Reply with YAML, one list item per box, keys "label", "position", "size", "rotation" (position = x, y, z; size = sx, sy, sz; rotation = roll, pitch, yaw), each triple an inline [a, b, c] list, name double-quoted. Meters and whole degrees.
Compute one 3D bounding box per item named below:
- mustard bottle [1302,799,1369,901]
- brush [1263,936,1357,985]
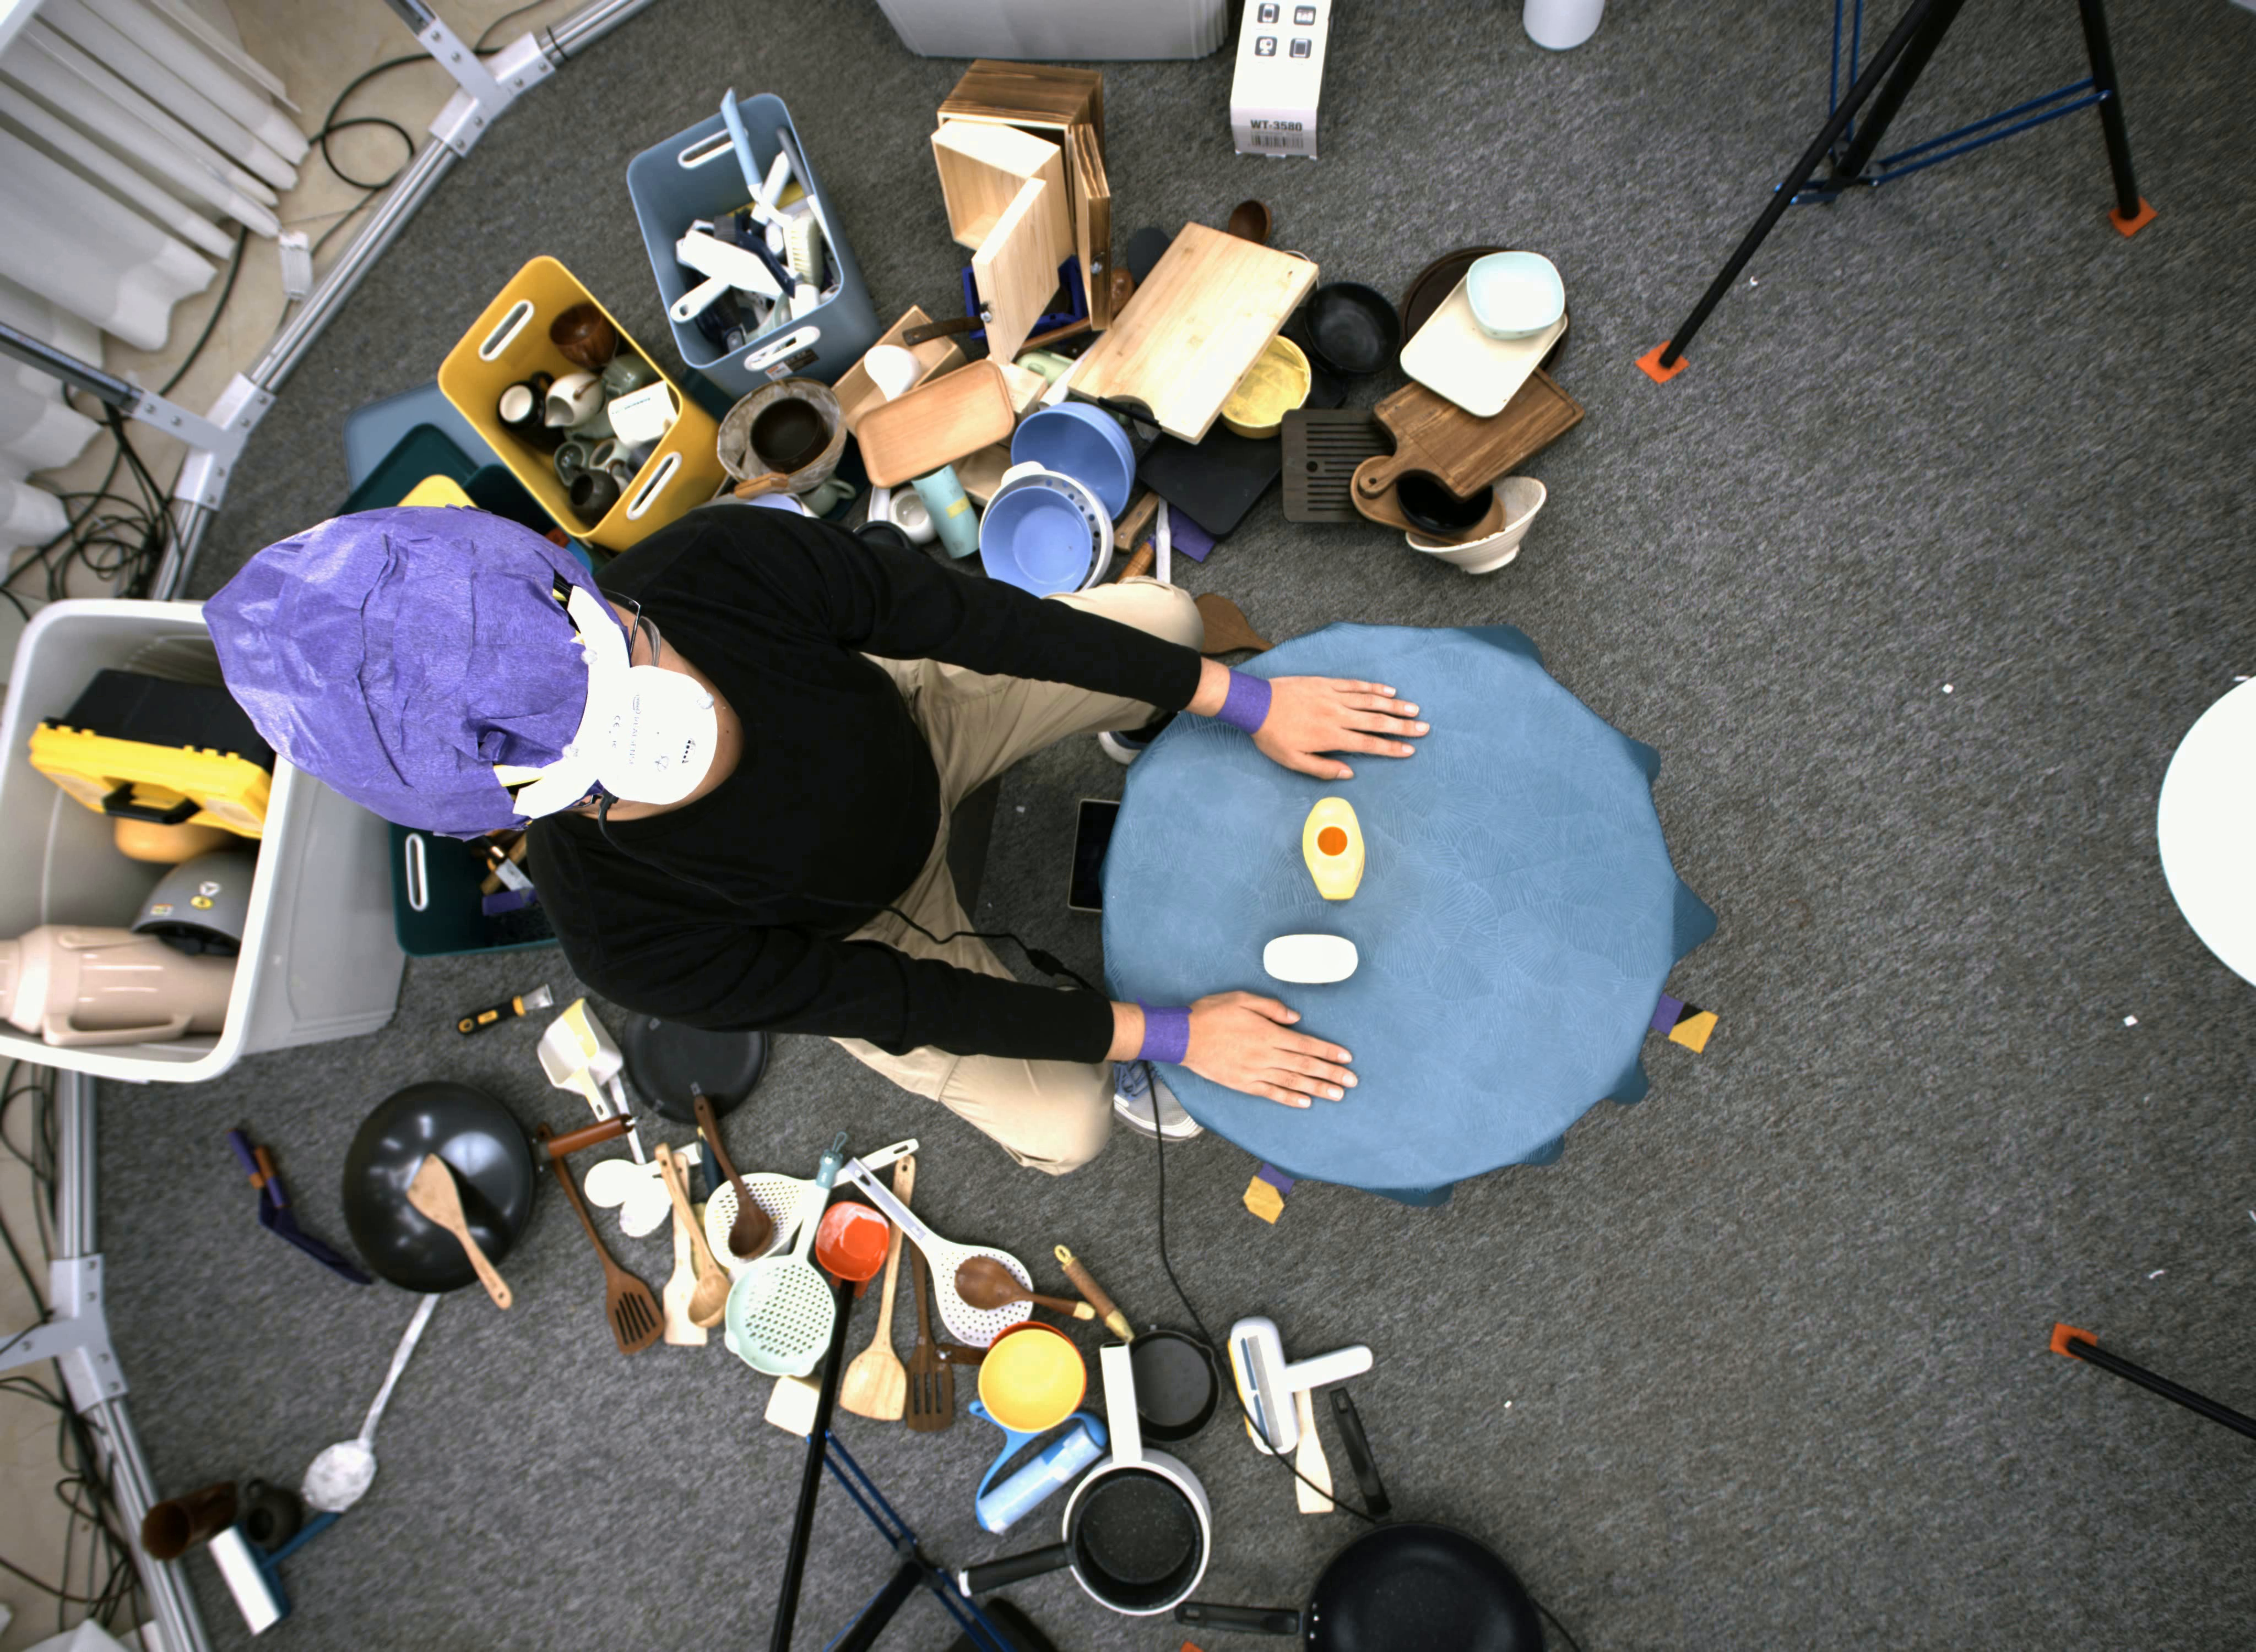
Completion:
- label: "mustard bottle"
  position: [0.209, 0.024, 1.388]
  size: [0.059, 0.172, 0.098]
  rotation: [-5, 85, 12]
- label: "brush"
  position: [0.188, 0.138, 1.433]
  size: [0.099, 0.073, 0.050]
  rotation: [2, 84, 9]
